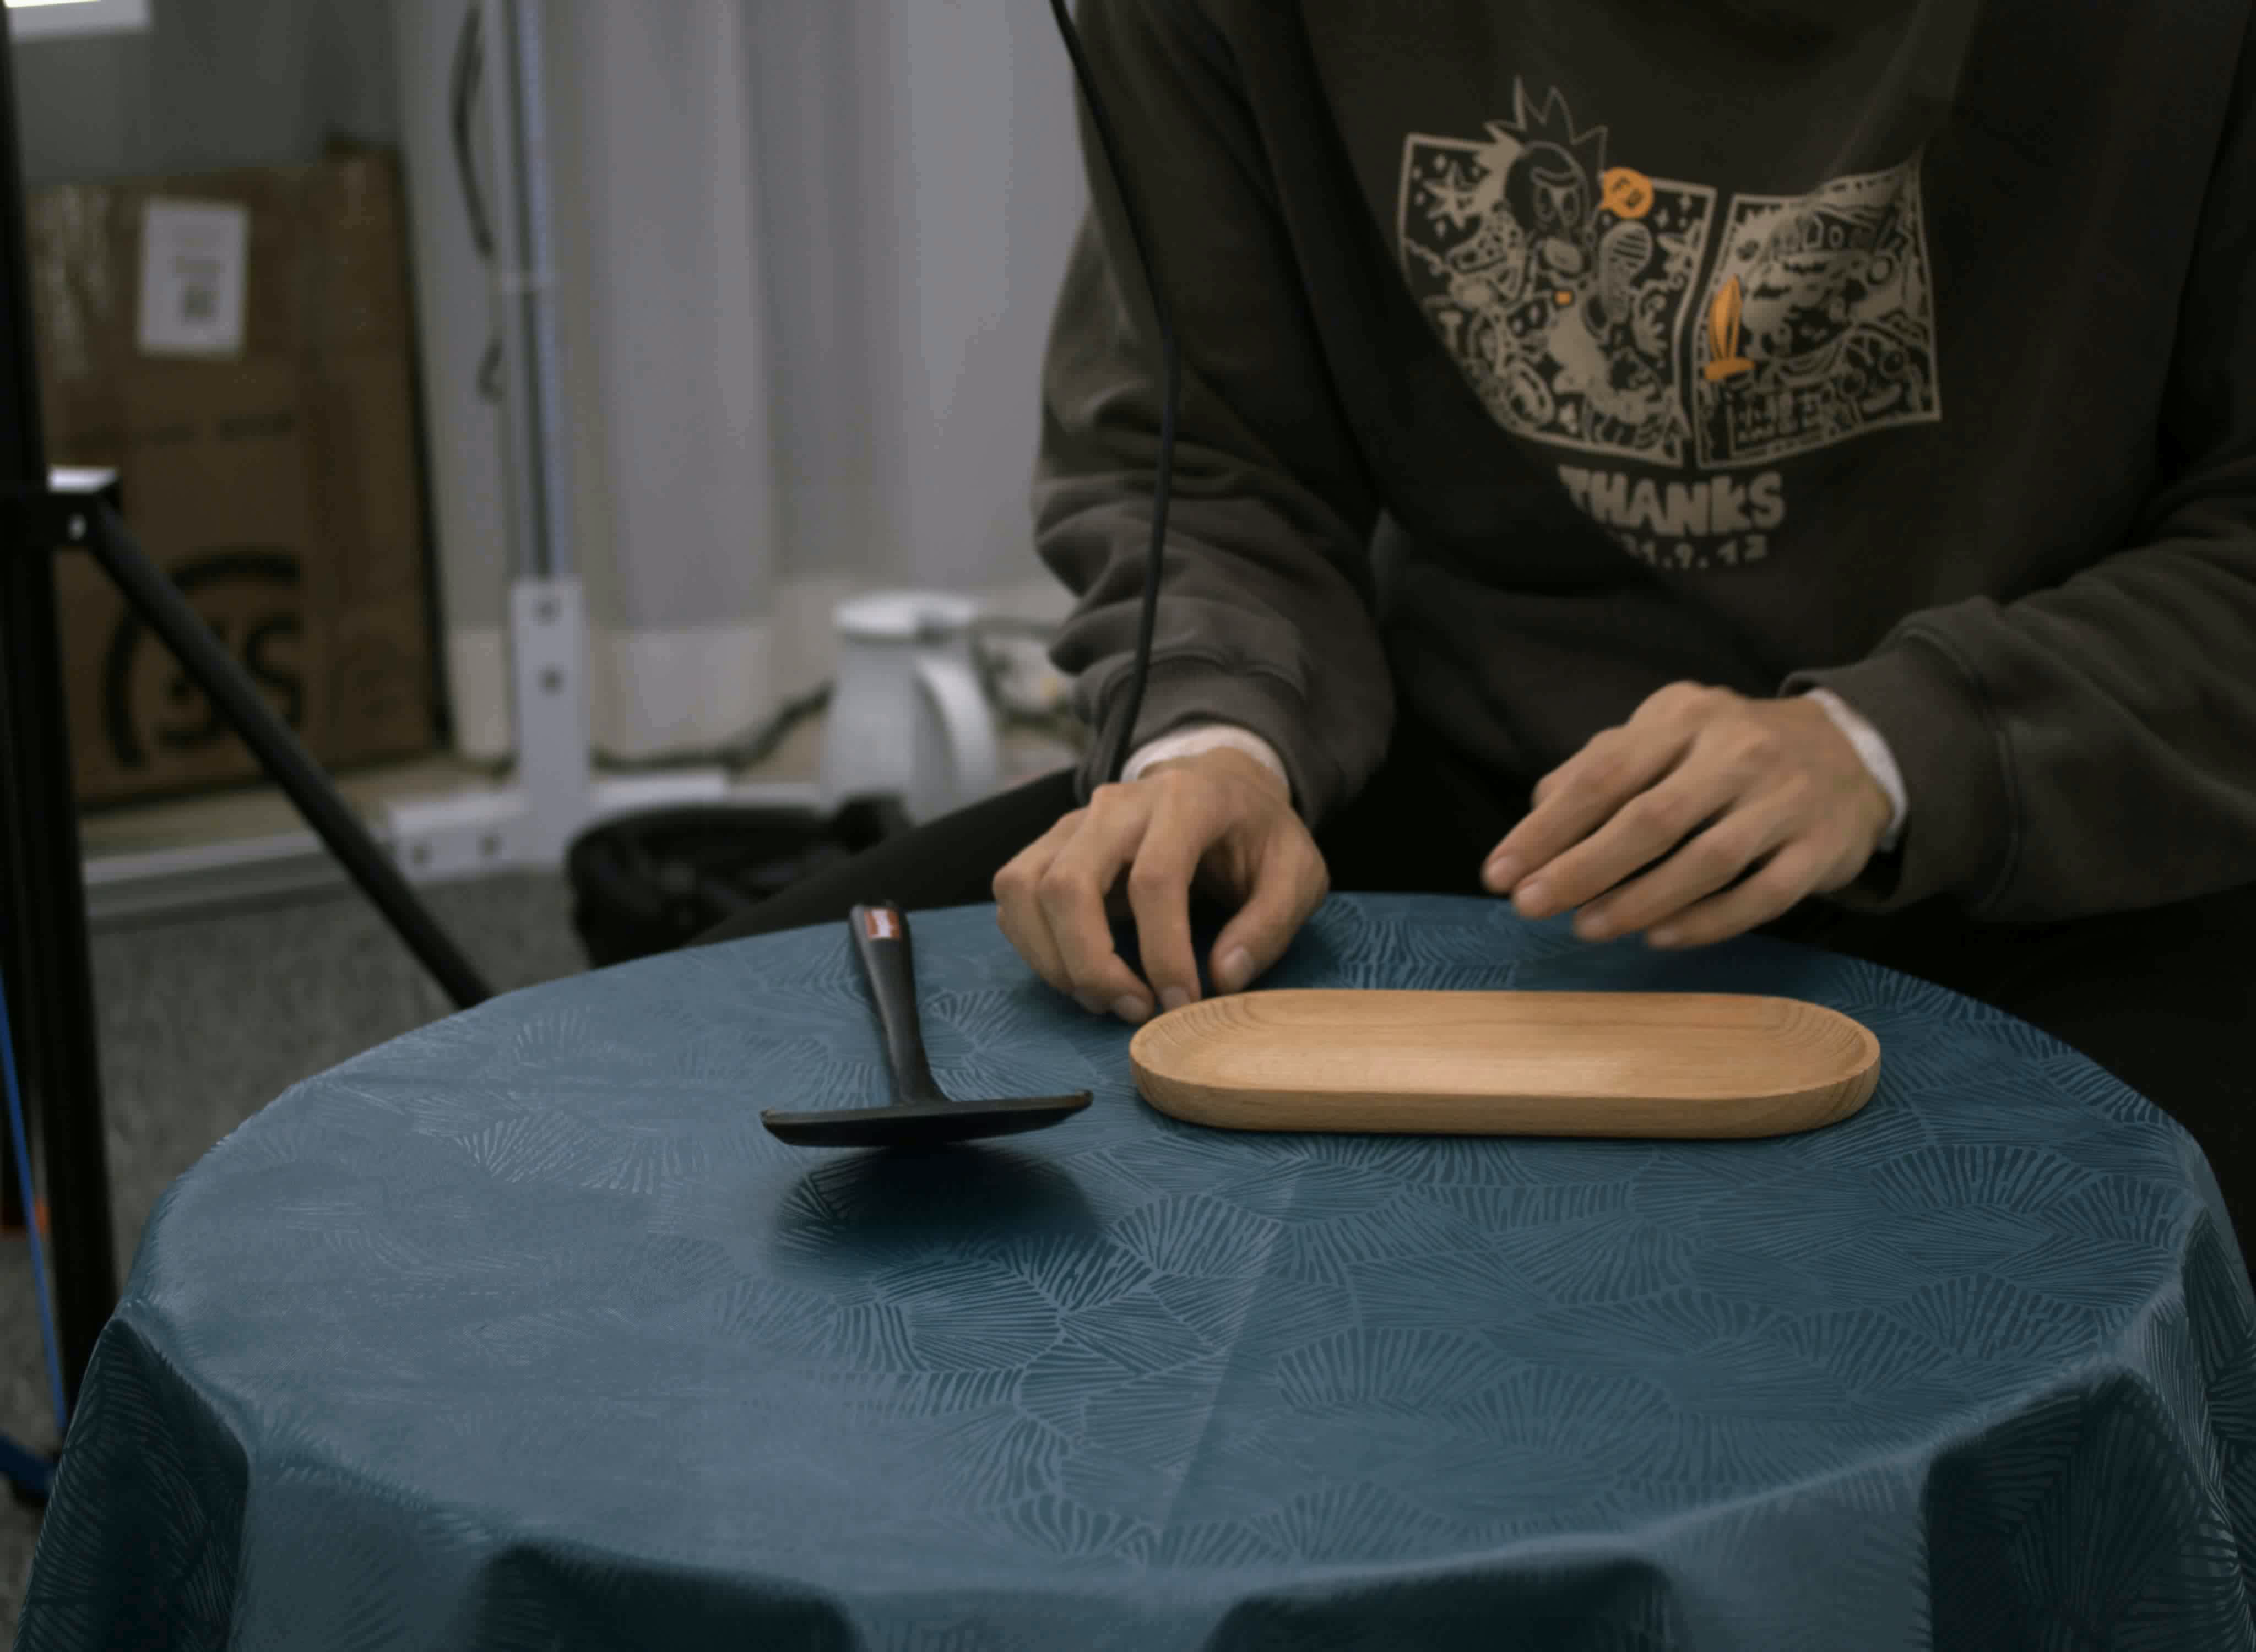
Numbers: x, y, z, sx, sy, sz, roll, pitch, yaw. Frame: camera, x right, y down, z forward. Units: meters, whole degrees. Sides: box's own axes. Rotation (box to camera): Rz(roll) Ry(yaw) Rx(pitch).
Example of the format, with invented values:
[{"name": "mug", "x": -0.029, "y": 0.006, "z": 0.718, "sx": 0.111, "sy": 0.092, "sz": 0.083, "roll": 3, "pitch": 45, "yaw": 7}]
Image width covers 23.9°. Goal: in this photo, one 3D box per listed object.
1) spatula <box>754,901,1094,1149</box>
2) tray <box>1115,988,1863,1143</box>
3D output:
[{"name": "spatula", "x": -0.074, "y": 0.058, "z": 1.685, "sx": 0.099, "sy": 0.040, "sz": 0.329, "roll": -3, "pitch": 16, "yaw": -5}, {"name": "tray", "x": 0.111, "y": 0.074, "z": 1.634, "sx": 0.232, "sy": 0.020, "sz": 0.101, "roll": 0, "pitch": 16, "yaw": 12}]
